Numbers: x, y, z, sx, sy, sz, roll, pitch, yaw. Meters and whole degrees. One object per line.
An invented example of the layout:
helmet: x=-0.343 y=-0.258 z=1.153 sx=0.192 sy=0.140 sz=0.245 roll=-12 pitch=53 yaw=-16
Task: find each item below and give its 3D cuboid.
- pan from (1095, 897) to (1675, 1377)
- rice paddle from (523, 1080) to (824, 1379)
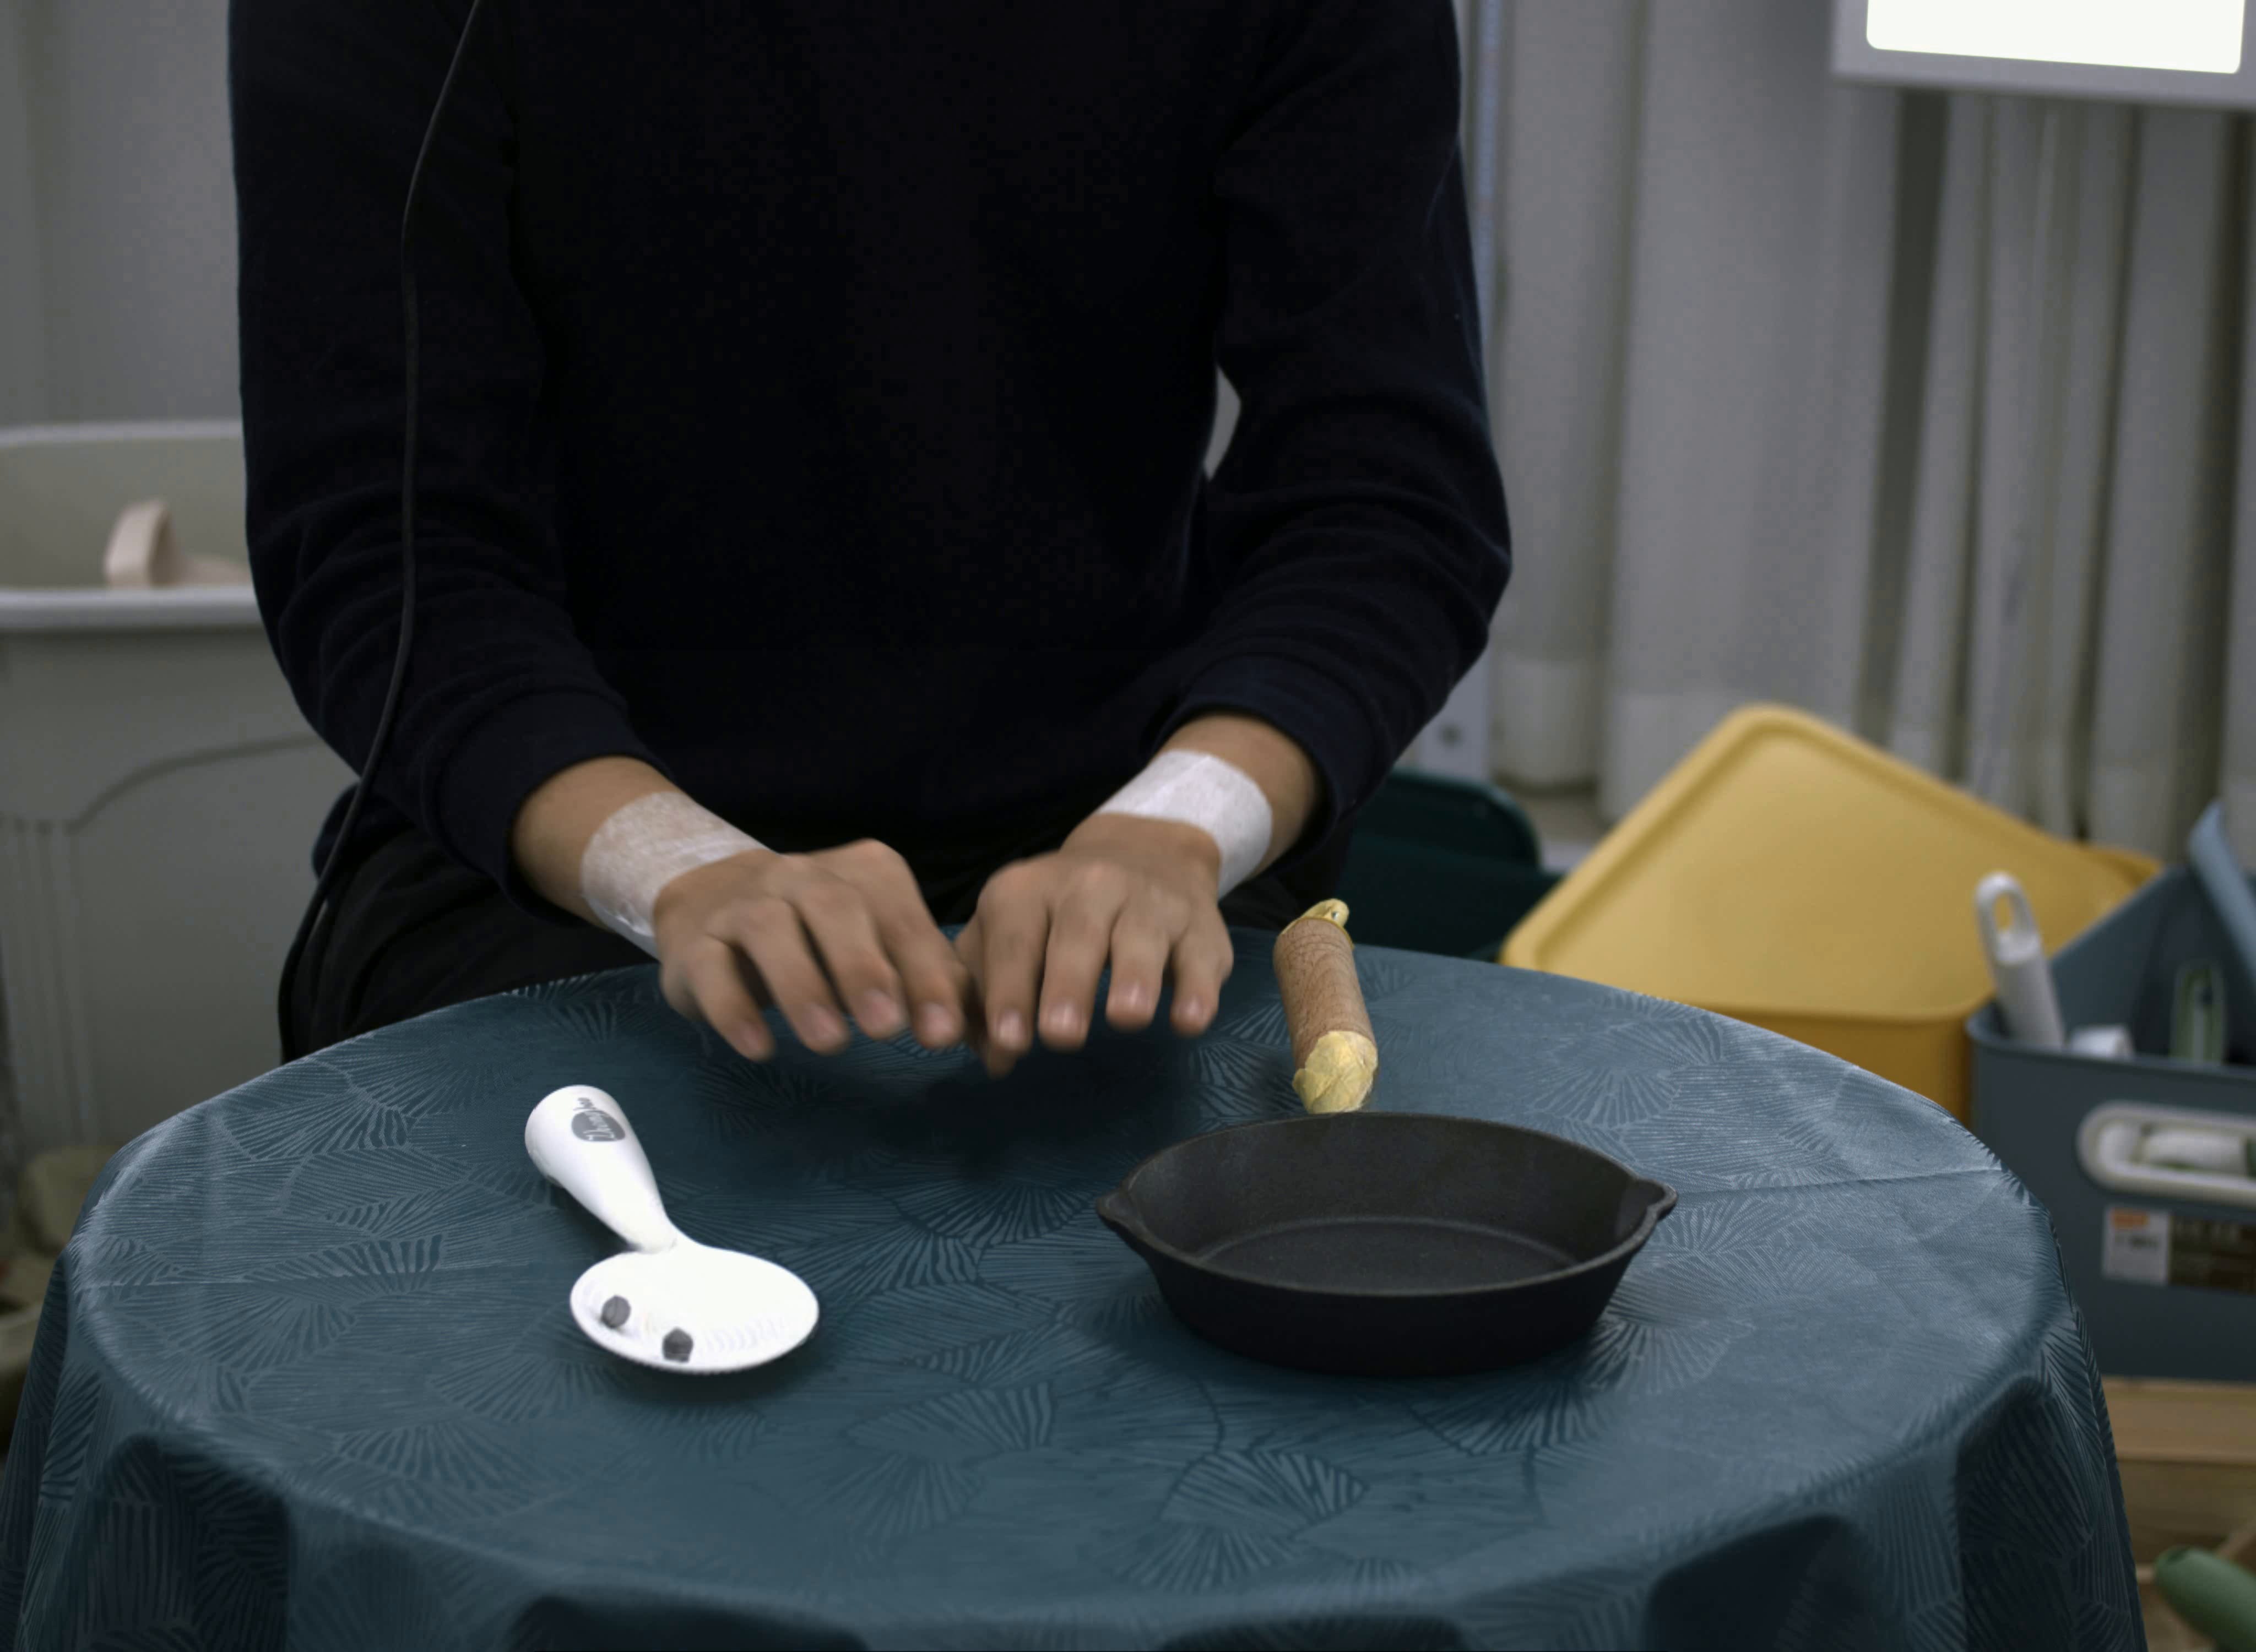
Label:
pan: x=0.071 y=0.091 z=1.606 sx=0.168 sy=0.050 sz=0.322 roll=0 pitch=17 yaw=-2
rice paddle: x=-0.140 y=0.120 z=1.547 sx=0.069 sy=0.029 sz=0.203 roll=-6 pitch=18 yaw=-18
